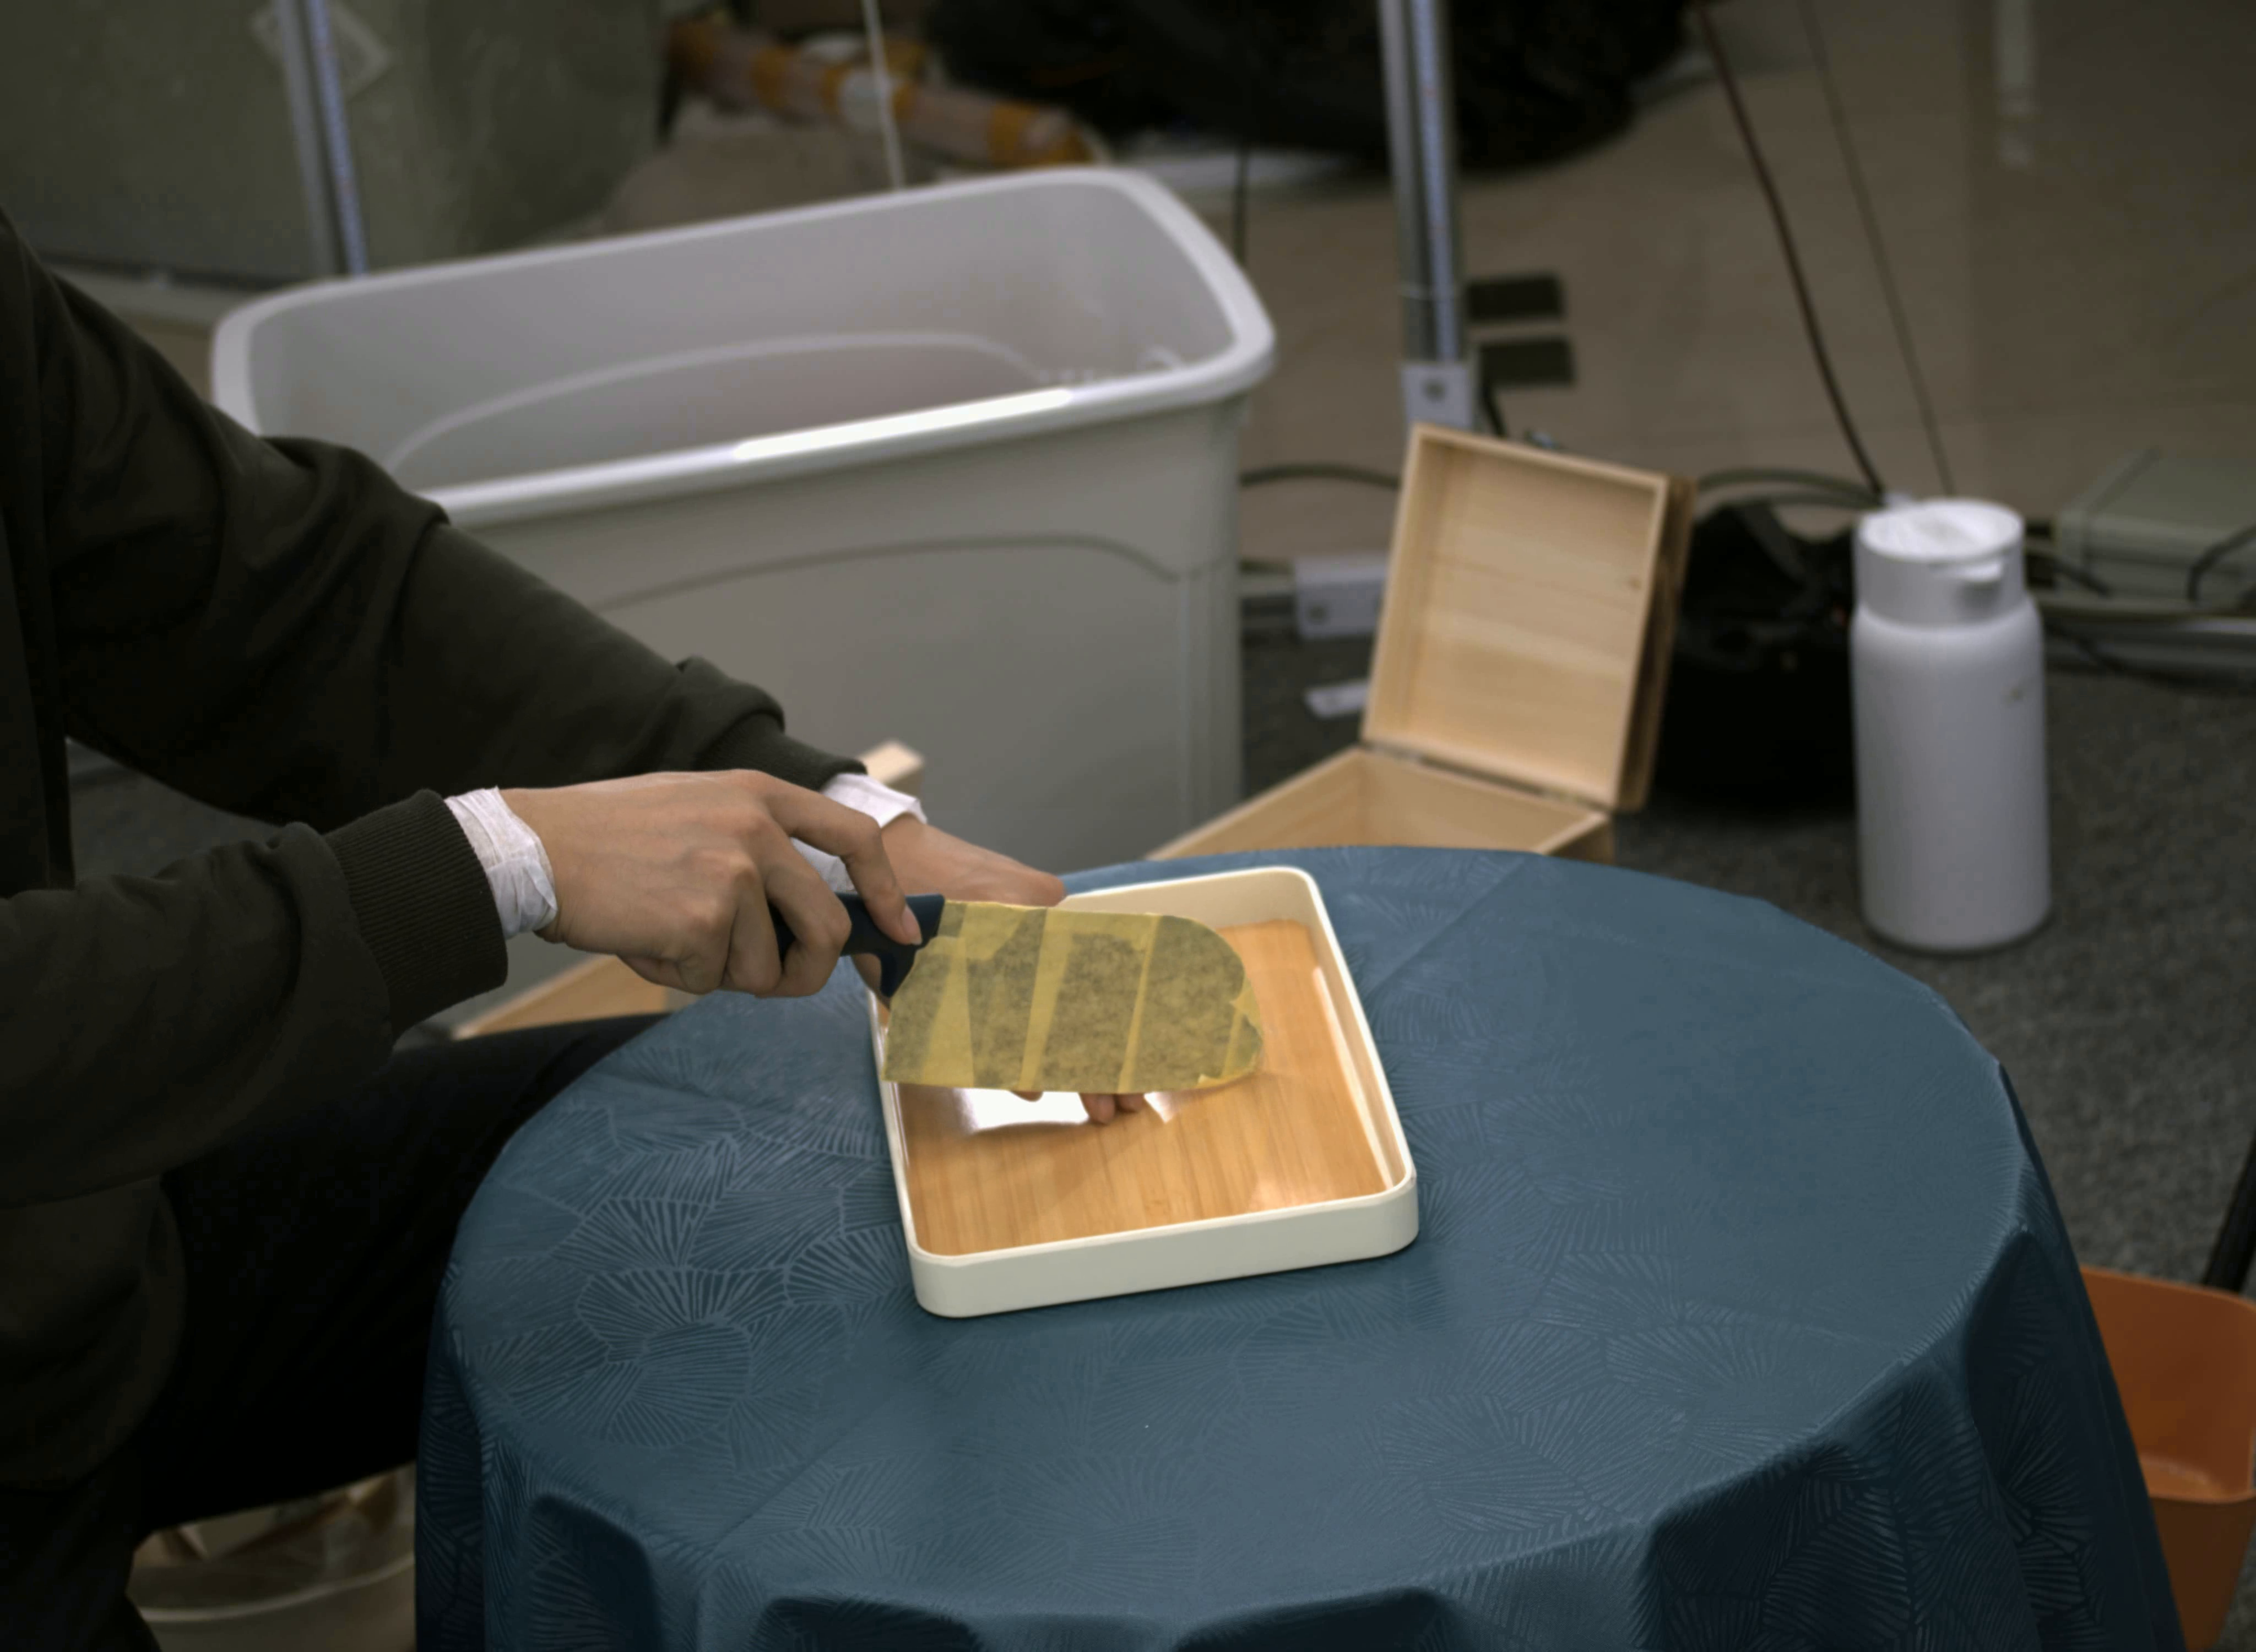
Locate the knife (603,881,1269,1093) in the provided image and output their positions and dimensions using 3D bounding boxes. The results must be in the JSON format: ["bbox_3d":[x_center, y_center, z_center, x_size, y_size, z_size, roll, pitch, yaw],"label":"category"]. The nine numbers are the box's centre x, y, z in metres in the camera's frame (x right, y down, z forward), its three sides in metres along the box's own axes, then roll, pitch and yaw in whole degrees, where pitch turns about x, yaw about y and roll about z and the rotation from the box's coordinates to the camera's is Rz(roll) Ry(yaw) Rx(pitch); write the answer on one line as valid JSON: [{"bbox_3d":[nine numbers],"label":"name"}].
[{"bbox_3d":[-0.068,0.060,2.133,0.290,0.081,0.027,8,9,-31],"label":"knife"}]

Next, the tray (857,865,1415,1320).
[{"bbox_3d":[-0.002,0.099,2.207,0.191,0.028,0.296,-9,24,-3],"label":"tray"}]
